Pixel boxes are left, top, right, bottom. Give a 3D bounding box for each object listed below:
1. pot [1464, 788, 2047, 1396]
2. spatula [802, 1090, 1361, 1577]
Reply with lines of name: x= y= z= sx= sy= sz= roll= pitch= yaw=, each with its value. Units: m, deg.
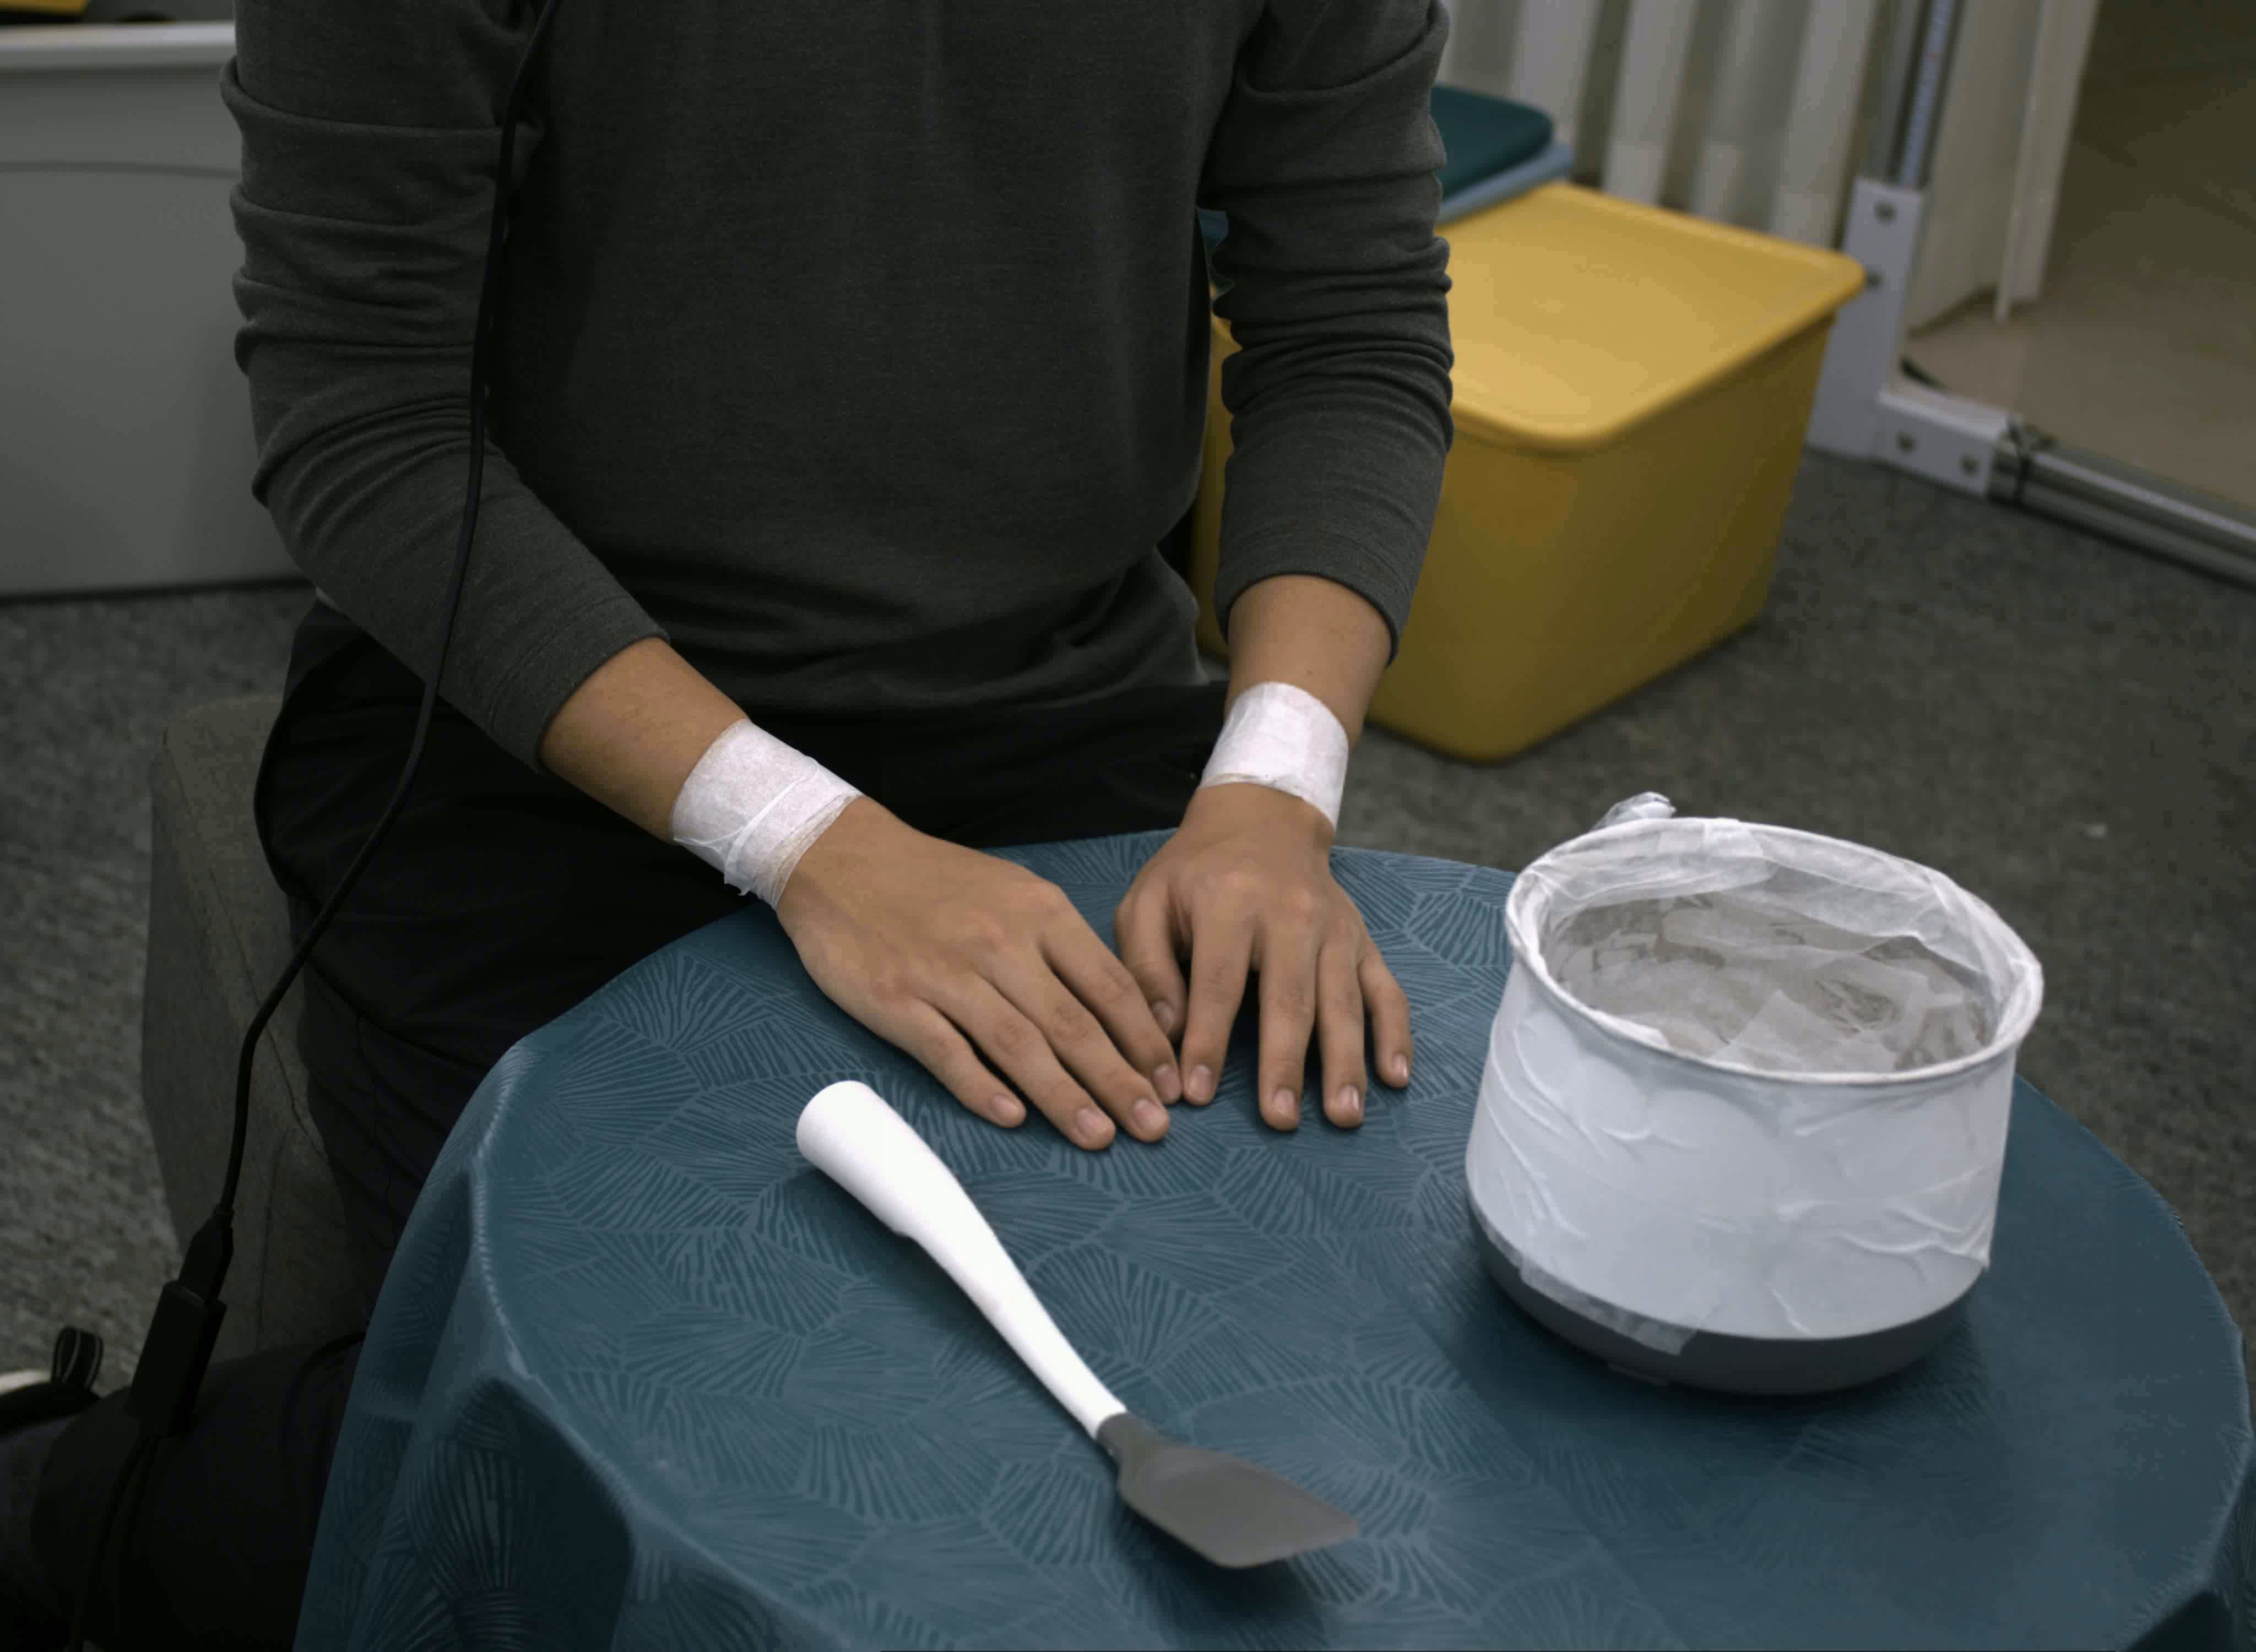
pot: x=0.194 y=0.081 z=1.781 sx=0.177 sy=0.136 sz=0.236 roll=-4 pitch=28 yaw=-20
spatula: x=-0.023 y=0.164 z=1.685 sx=0.058 sy=0.032 sz=0.290 roll=-6 pitch=28 yaw=-31
